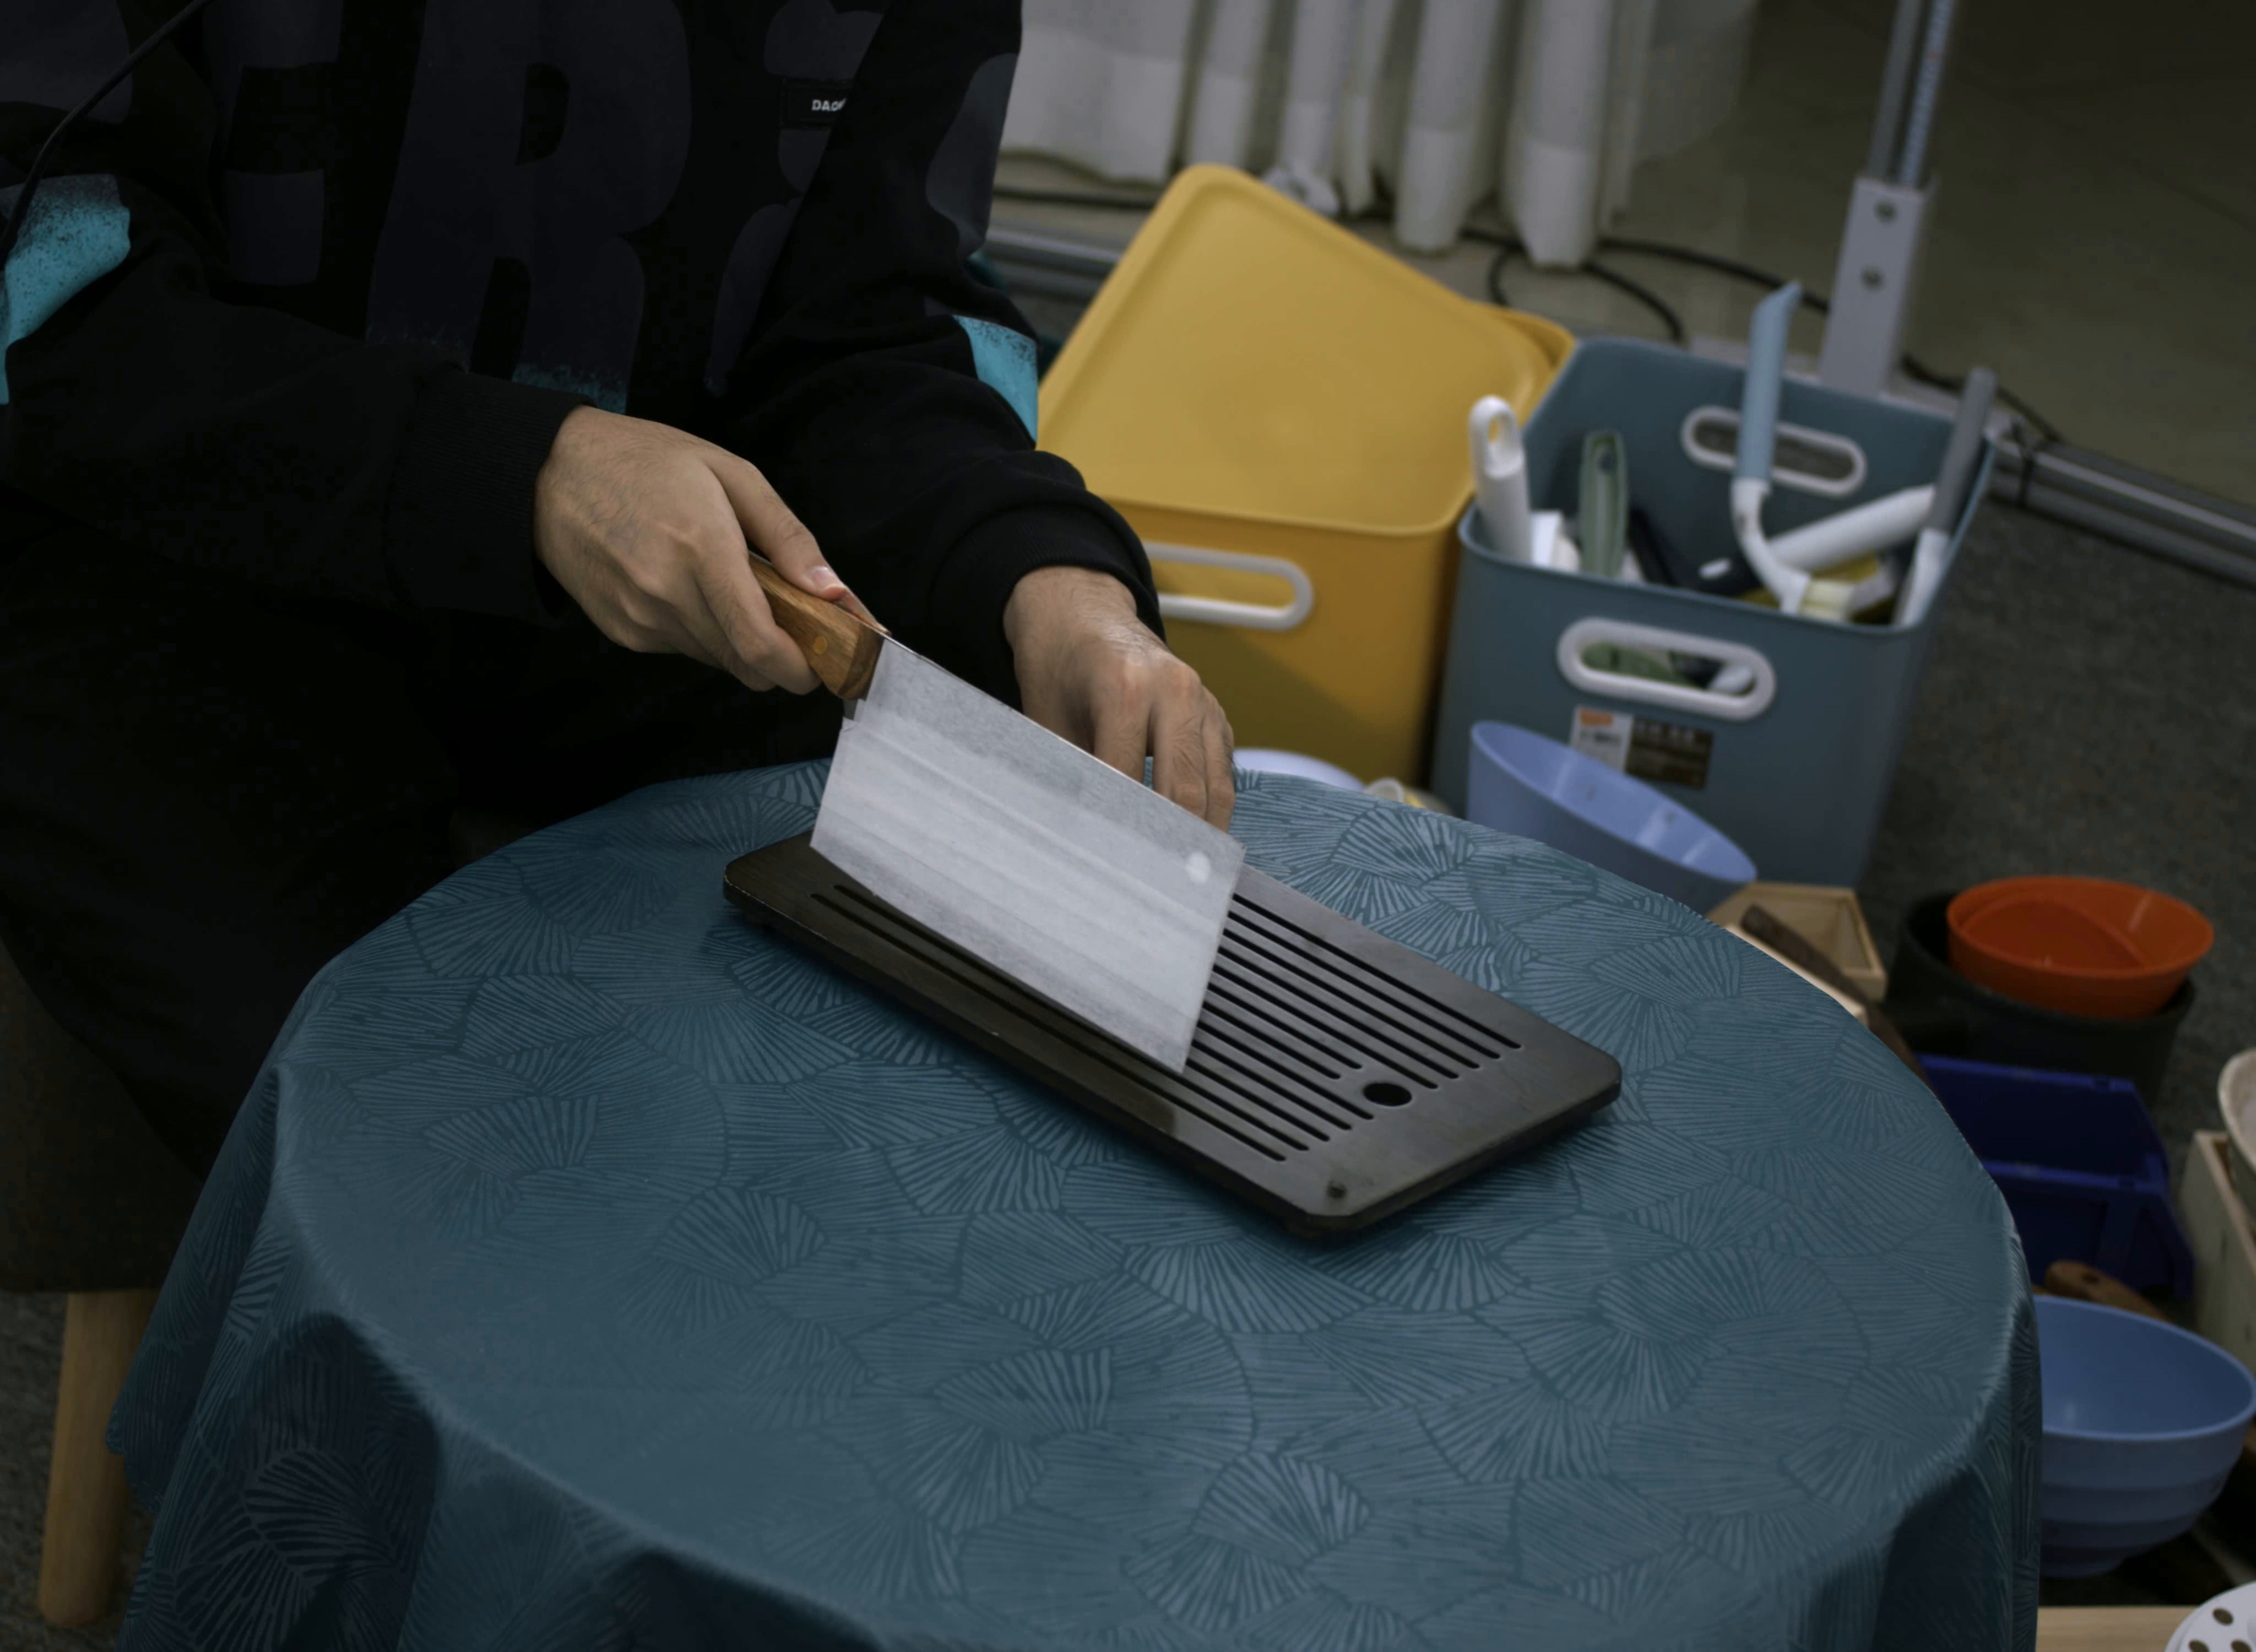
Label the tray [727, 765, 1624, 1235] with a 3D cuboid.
[{"bbox_3d":[0.014,0.057,1.916,0.308,0.018,0.169,28,34,36],"label":"tray"}]

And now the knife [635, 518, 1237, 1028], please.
[{"bbox_3d":[-0.077,-0.018,1.904,0.308,0.093,0.021,31,26,36],"label":"knife"}]
